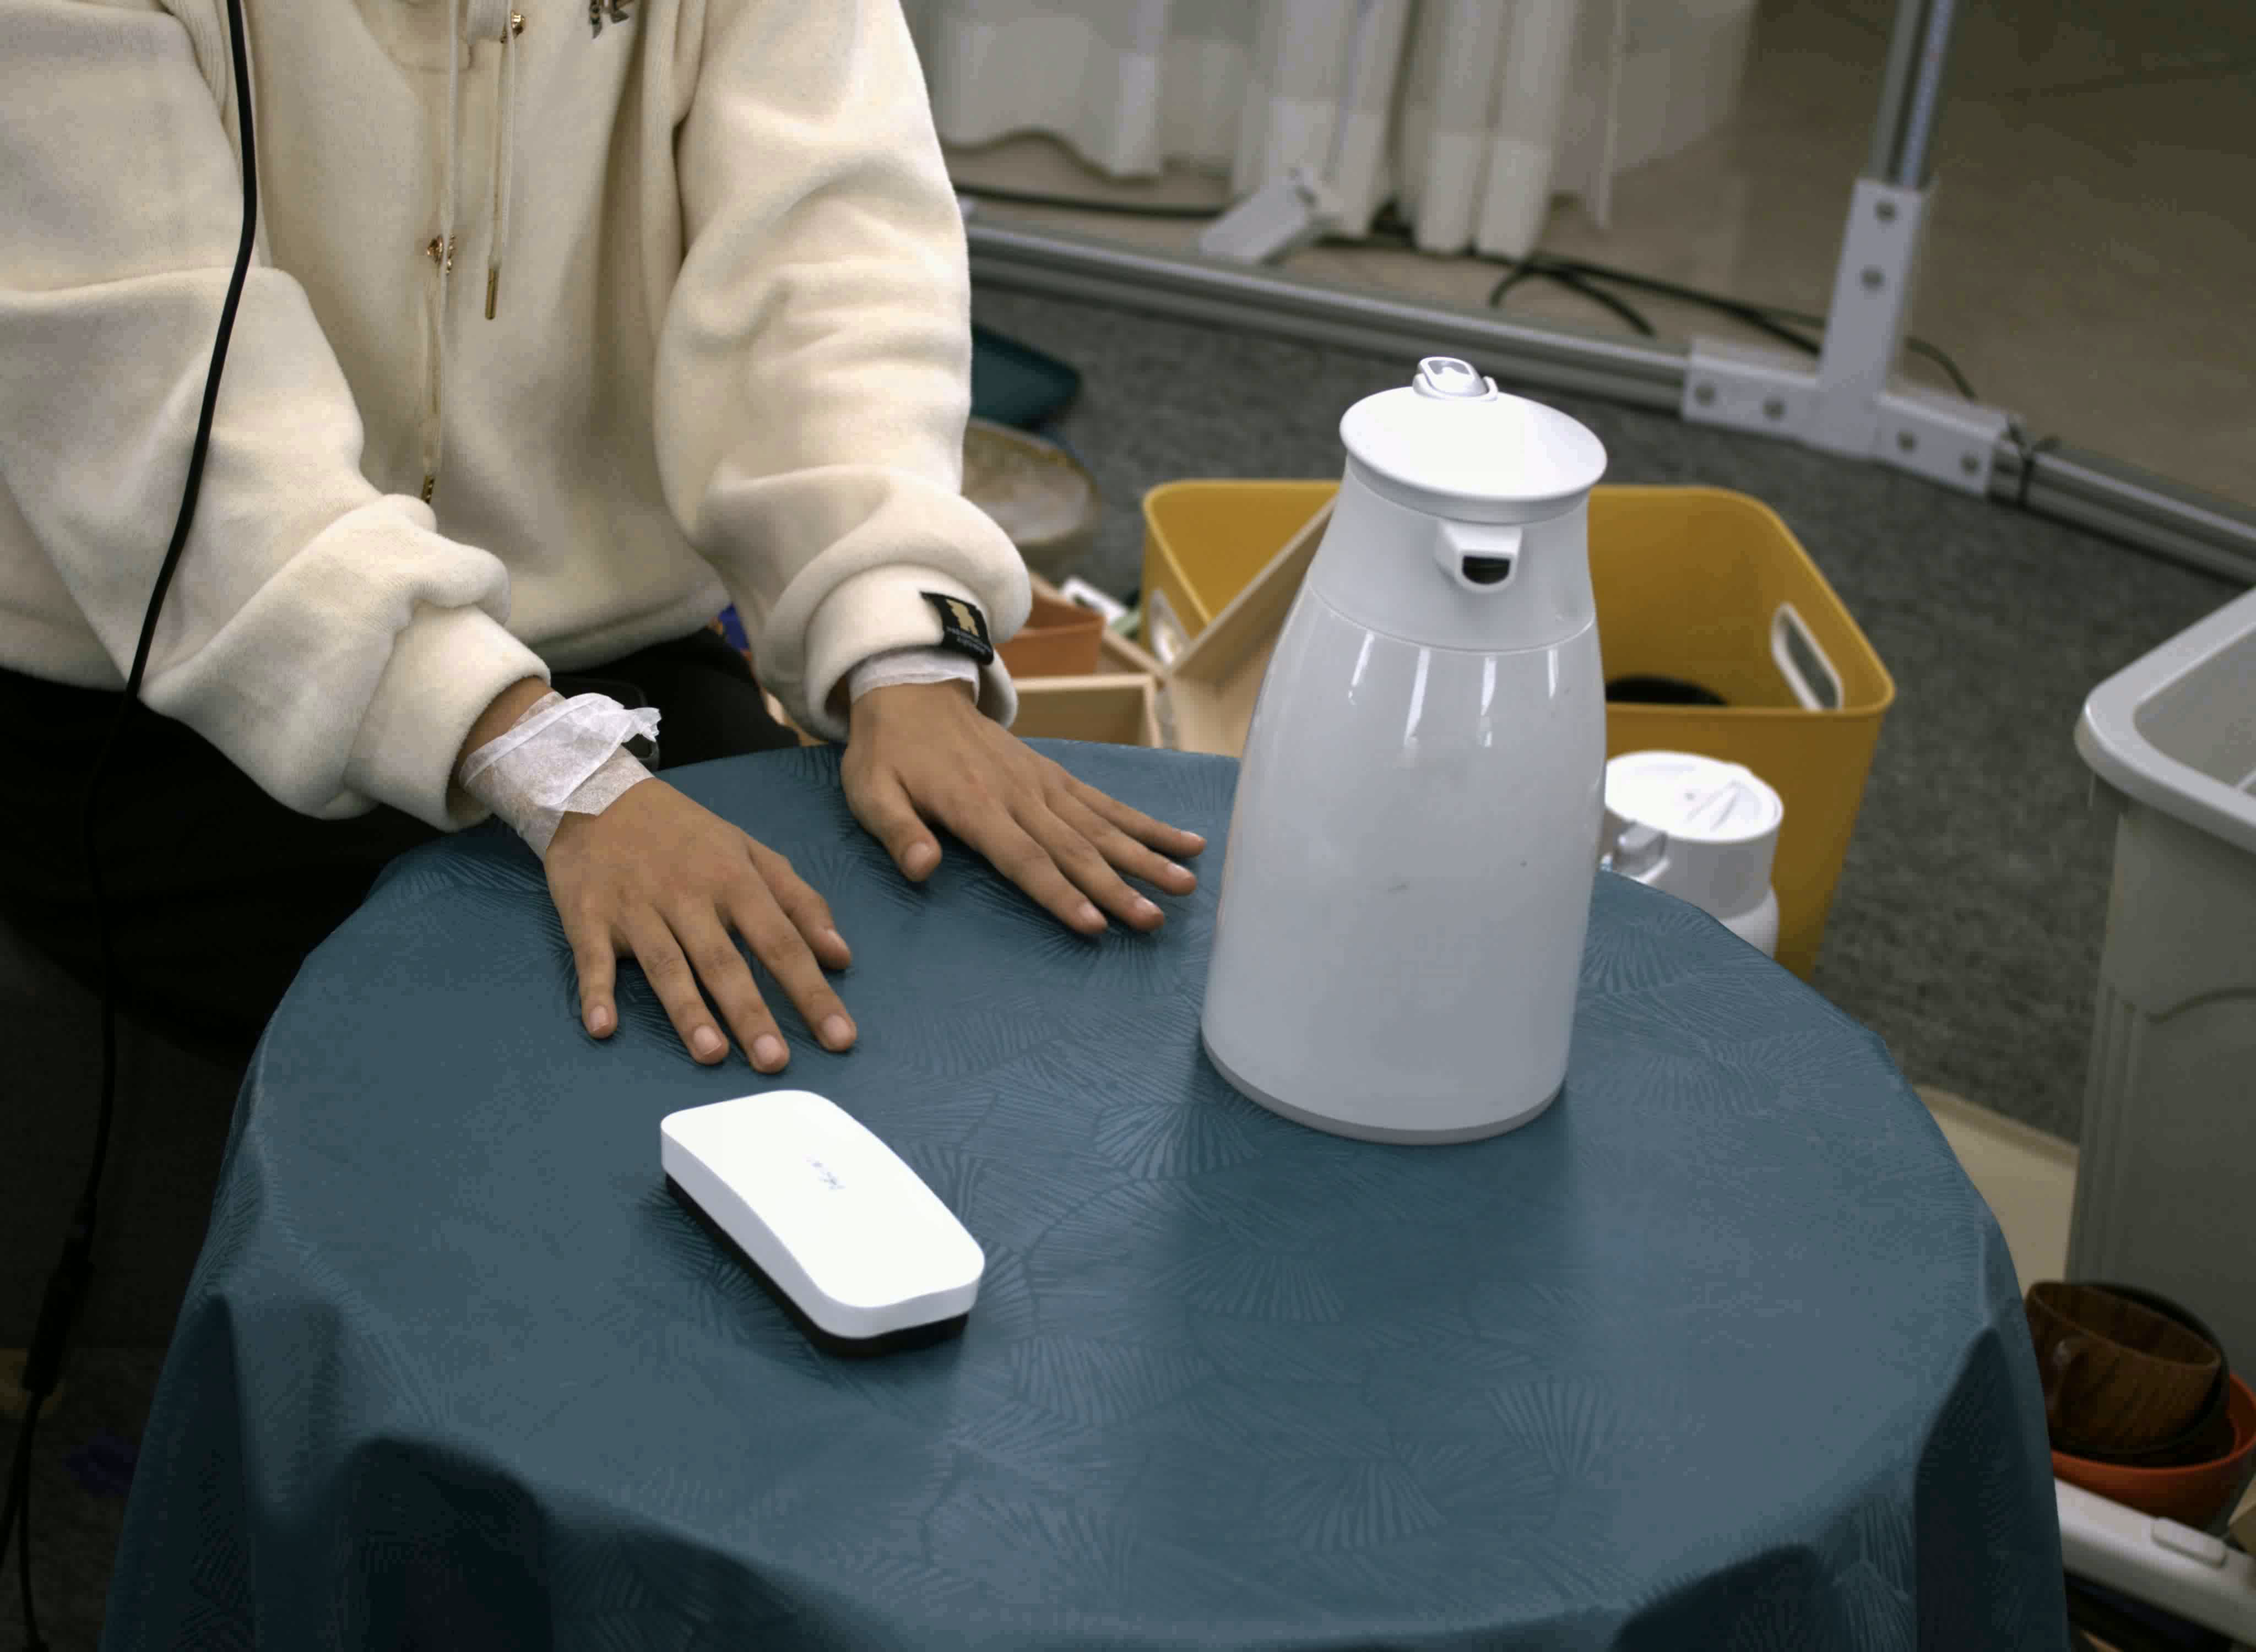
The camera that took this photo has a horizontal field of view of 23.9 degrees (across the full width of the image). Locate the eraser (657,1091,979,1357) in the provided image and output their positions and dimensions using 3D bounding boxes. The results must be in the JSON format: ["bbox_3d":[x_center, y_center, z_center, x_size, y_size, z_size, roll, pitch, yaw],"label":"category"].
[{"bbox_3d":[-0.102,0.126,1.740,0.063,0.034,0.132,-8,31,-32],"label":"eraser"}]

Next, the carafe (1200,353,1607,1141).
[{"bbox_3d":[0.102,-0.038,1.868,0.132,0.248,0.169,3,26,-6],"label":"carafe"}]
